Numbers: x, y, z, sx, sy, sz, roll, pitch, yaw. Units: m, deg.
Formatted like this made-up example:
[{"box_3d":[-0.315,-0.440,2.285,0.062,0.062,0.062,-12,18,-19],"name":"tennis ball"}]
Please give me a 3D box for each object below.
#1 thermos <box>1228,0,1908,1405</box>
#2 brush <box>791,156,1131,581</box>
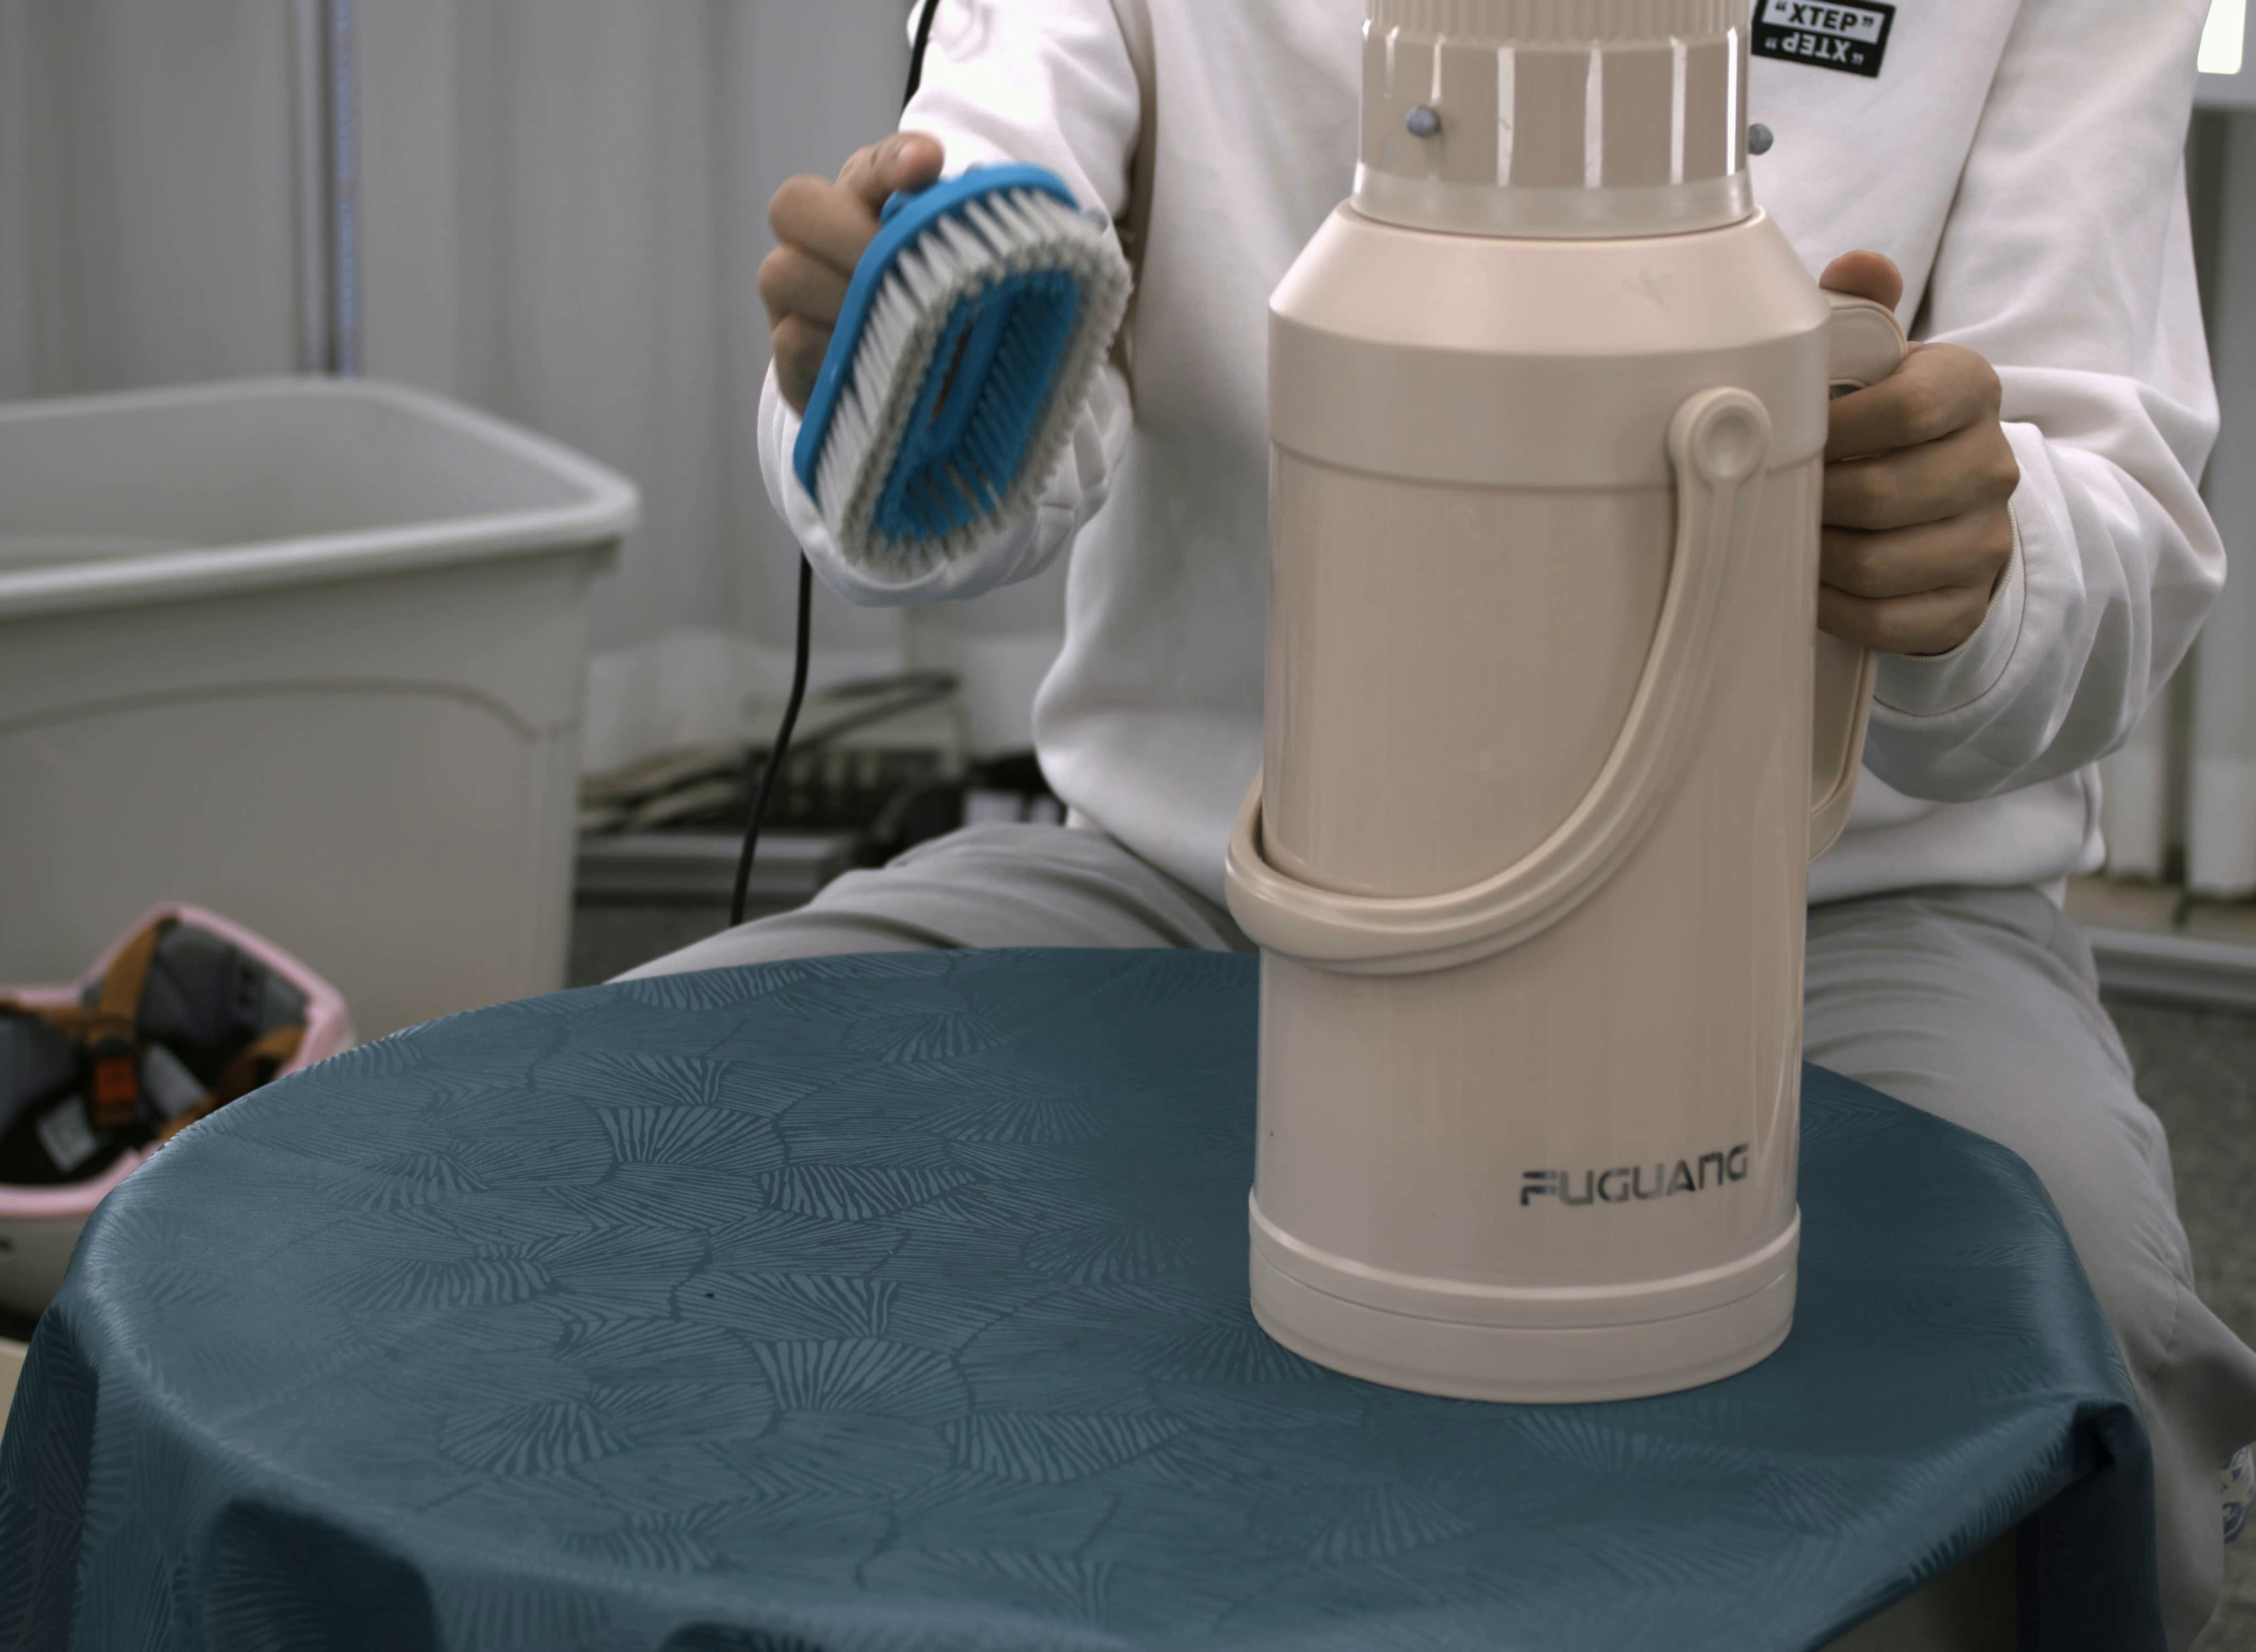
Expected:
[{"box_3d":[0.129,-0.053,1.486,0.208,0.409,0.173,-9,17,-30],"name":"thermos"},{"box_3d":[-0.057,-0.138,1.501,0.084,0.143,0.063,-21,60,-32],"name":"brush"}]
